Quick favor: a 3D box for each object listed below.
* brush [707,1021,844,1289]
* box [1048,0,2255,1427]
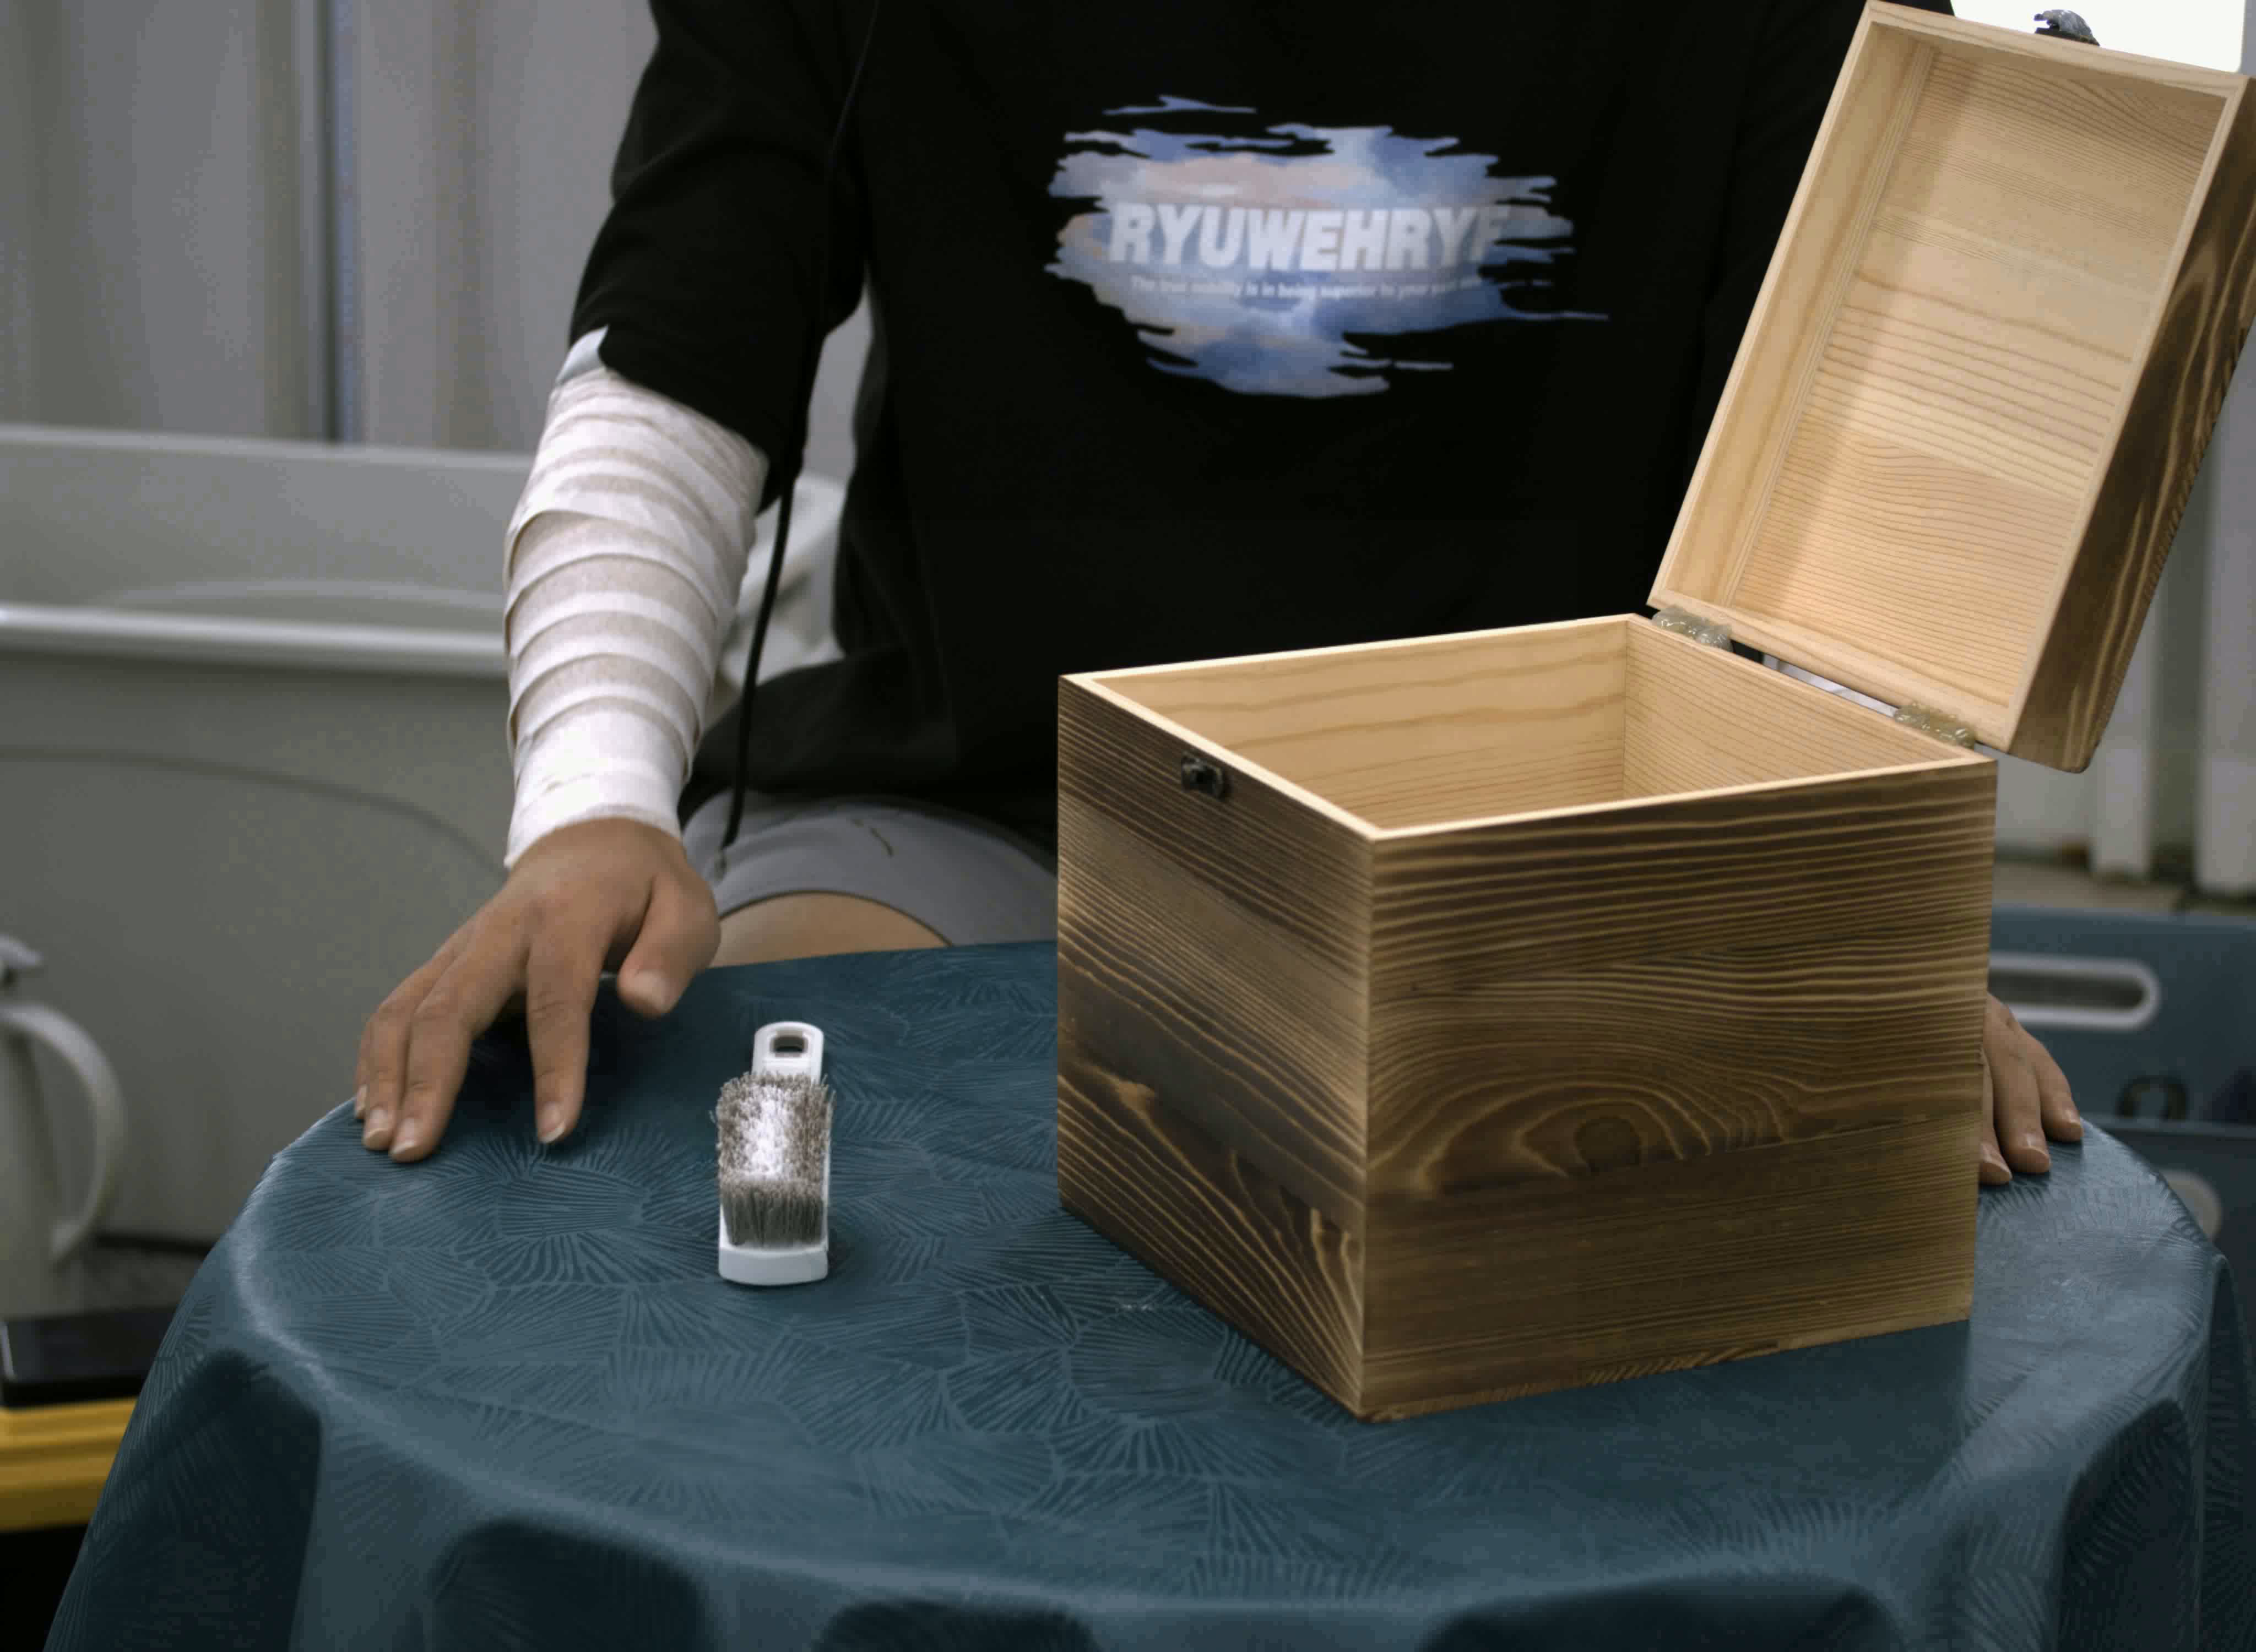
[{"bbox_3d":[-0.106,0.082,1.637,0.034,0.050,0.242,1,16,0],"label":"brush"},{"bbox_3d":[0.156,-0.052,1.540,0.323,0.378,0.206,-8,17,-25],"label":"box"}]
